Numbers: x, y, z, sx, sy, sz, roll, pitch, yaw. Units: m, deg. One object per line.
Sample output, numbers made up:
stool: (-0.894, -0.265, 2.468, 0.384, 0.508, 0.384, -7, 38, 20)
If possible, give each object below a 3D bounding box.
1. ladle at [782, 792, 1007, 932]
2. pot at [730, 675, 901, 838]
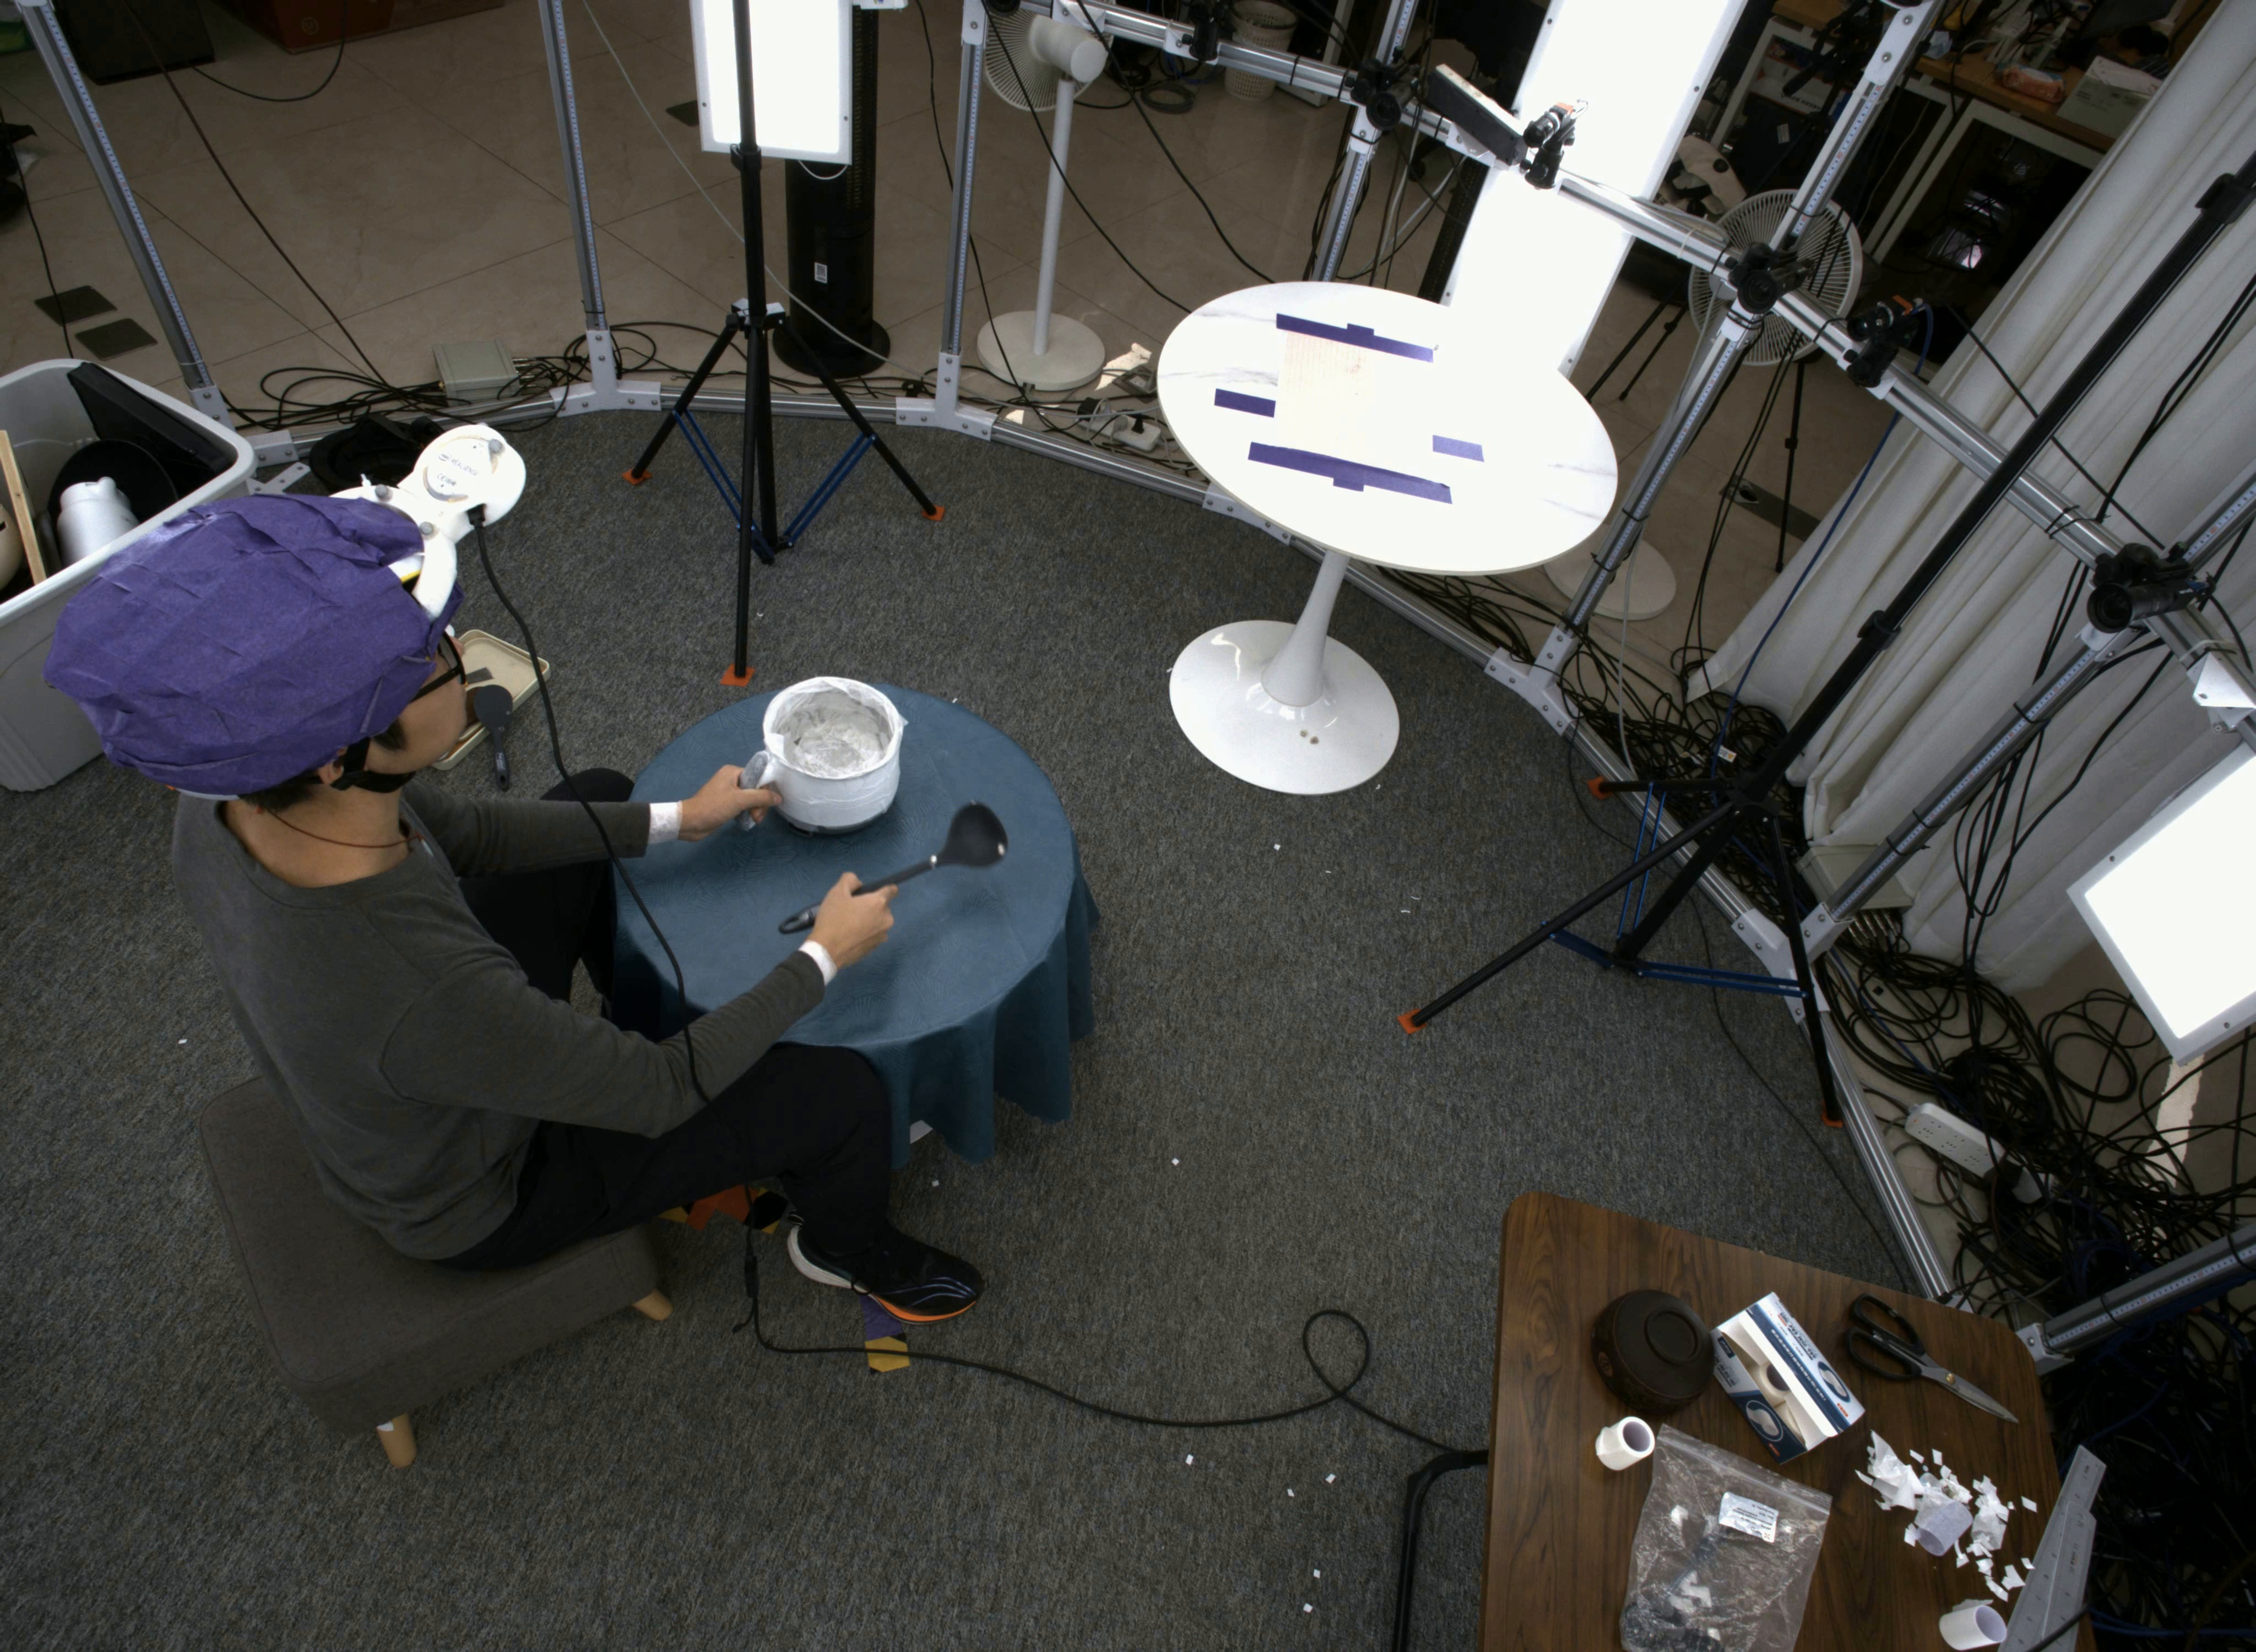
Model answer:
ladle: (-0.283, 0.048, 1.586, 0.316, 0.064, 0.085, -27, 71, -39)
pot: (-0.413, -0.079, 1.700, 0.235, 0.139, 0.174, -30, 64, -33)
